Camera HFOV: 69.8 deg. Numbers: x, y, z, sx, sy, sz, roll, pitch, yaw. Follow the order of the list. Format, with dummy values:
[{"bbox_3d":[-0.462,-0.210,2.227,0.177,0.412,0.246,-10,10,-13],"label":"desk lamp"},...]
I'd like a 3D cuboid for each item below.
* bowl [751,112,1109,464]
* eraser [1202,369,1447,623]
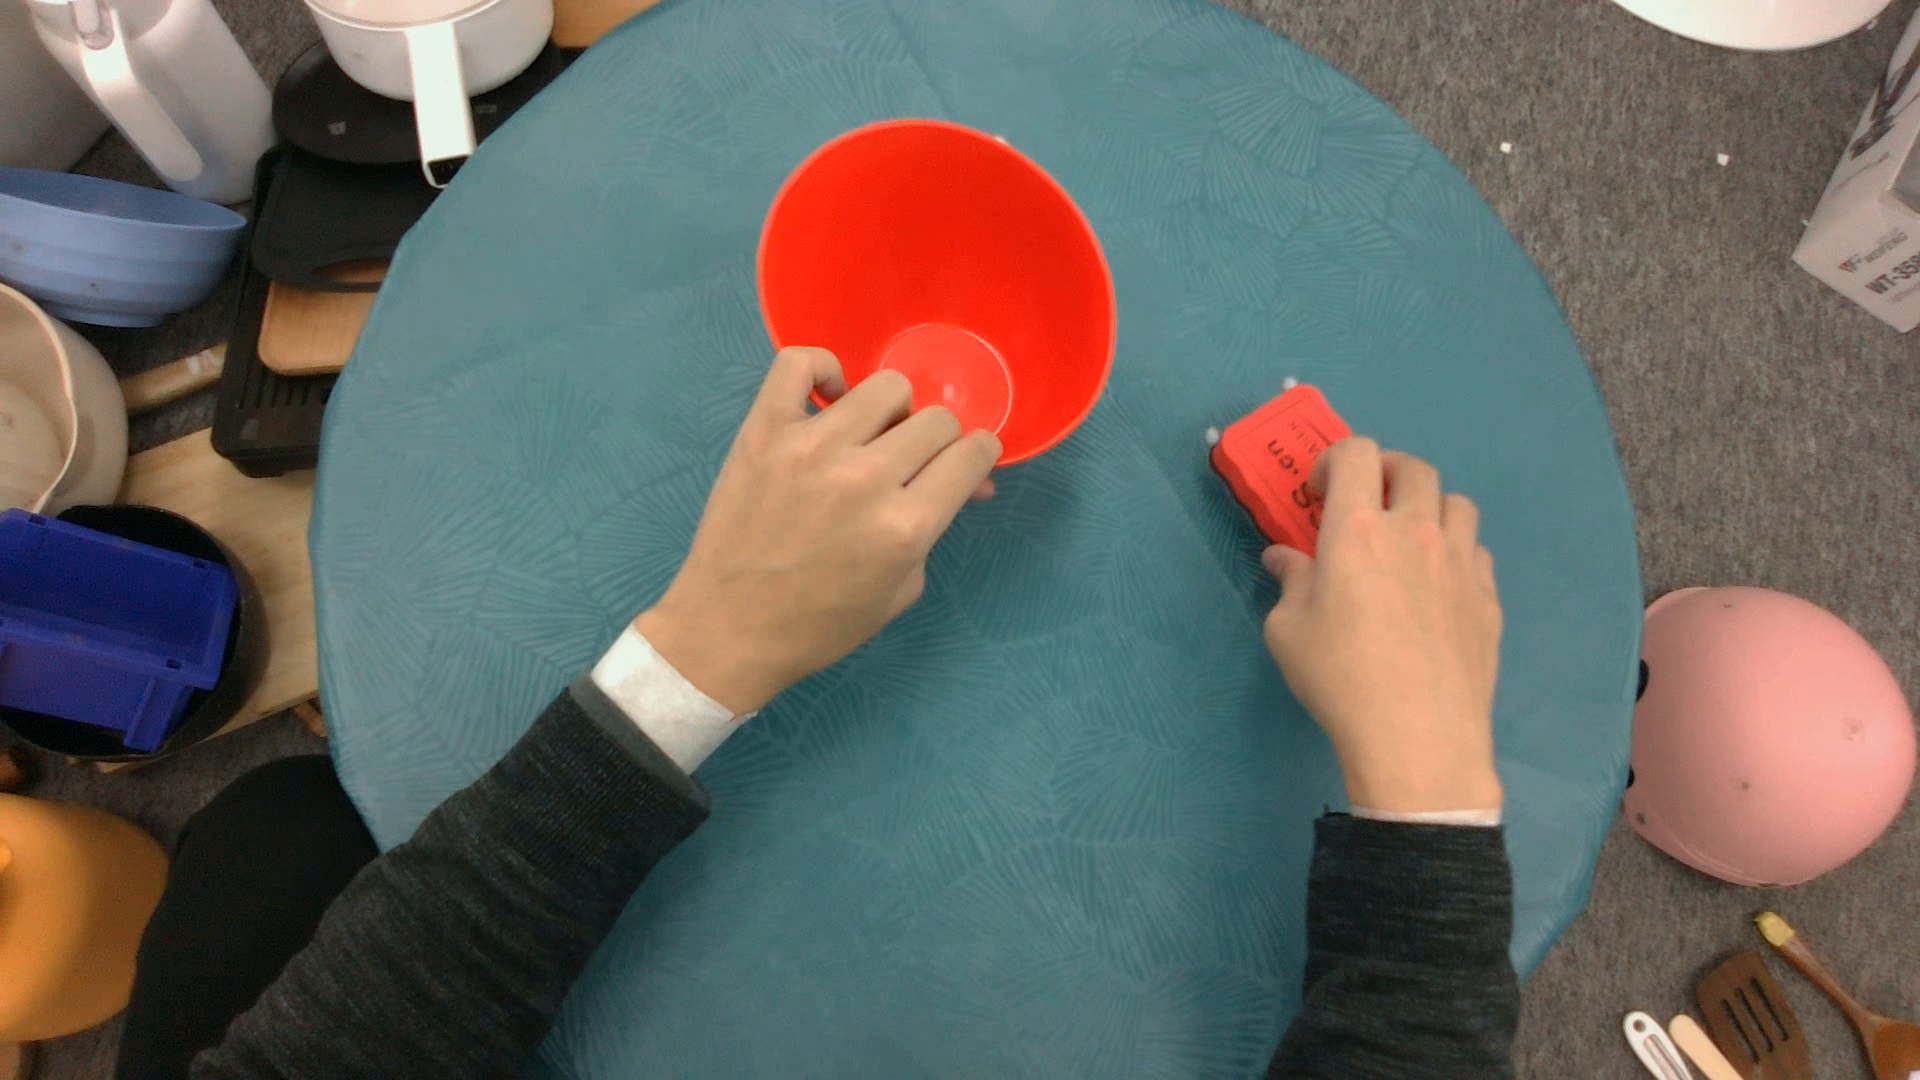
[{"bbox_3d":[-0.015,-0.092,0.587,0.148,0.104,0.148,3,71,-9],"label":"bowl"},{"bbox_3d":[0.160,-0.020,0.611,0.059,0.023,0.108,-33,79,-19],"label":"eraser"}]
